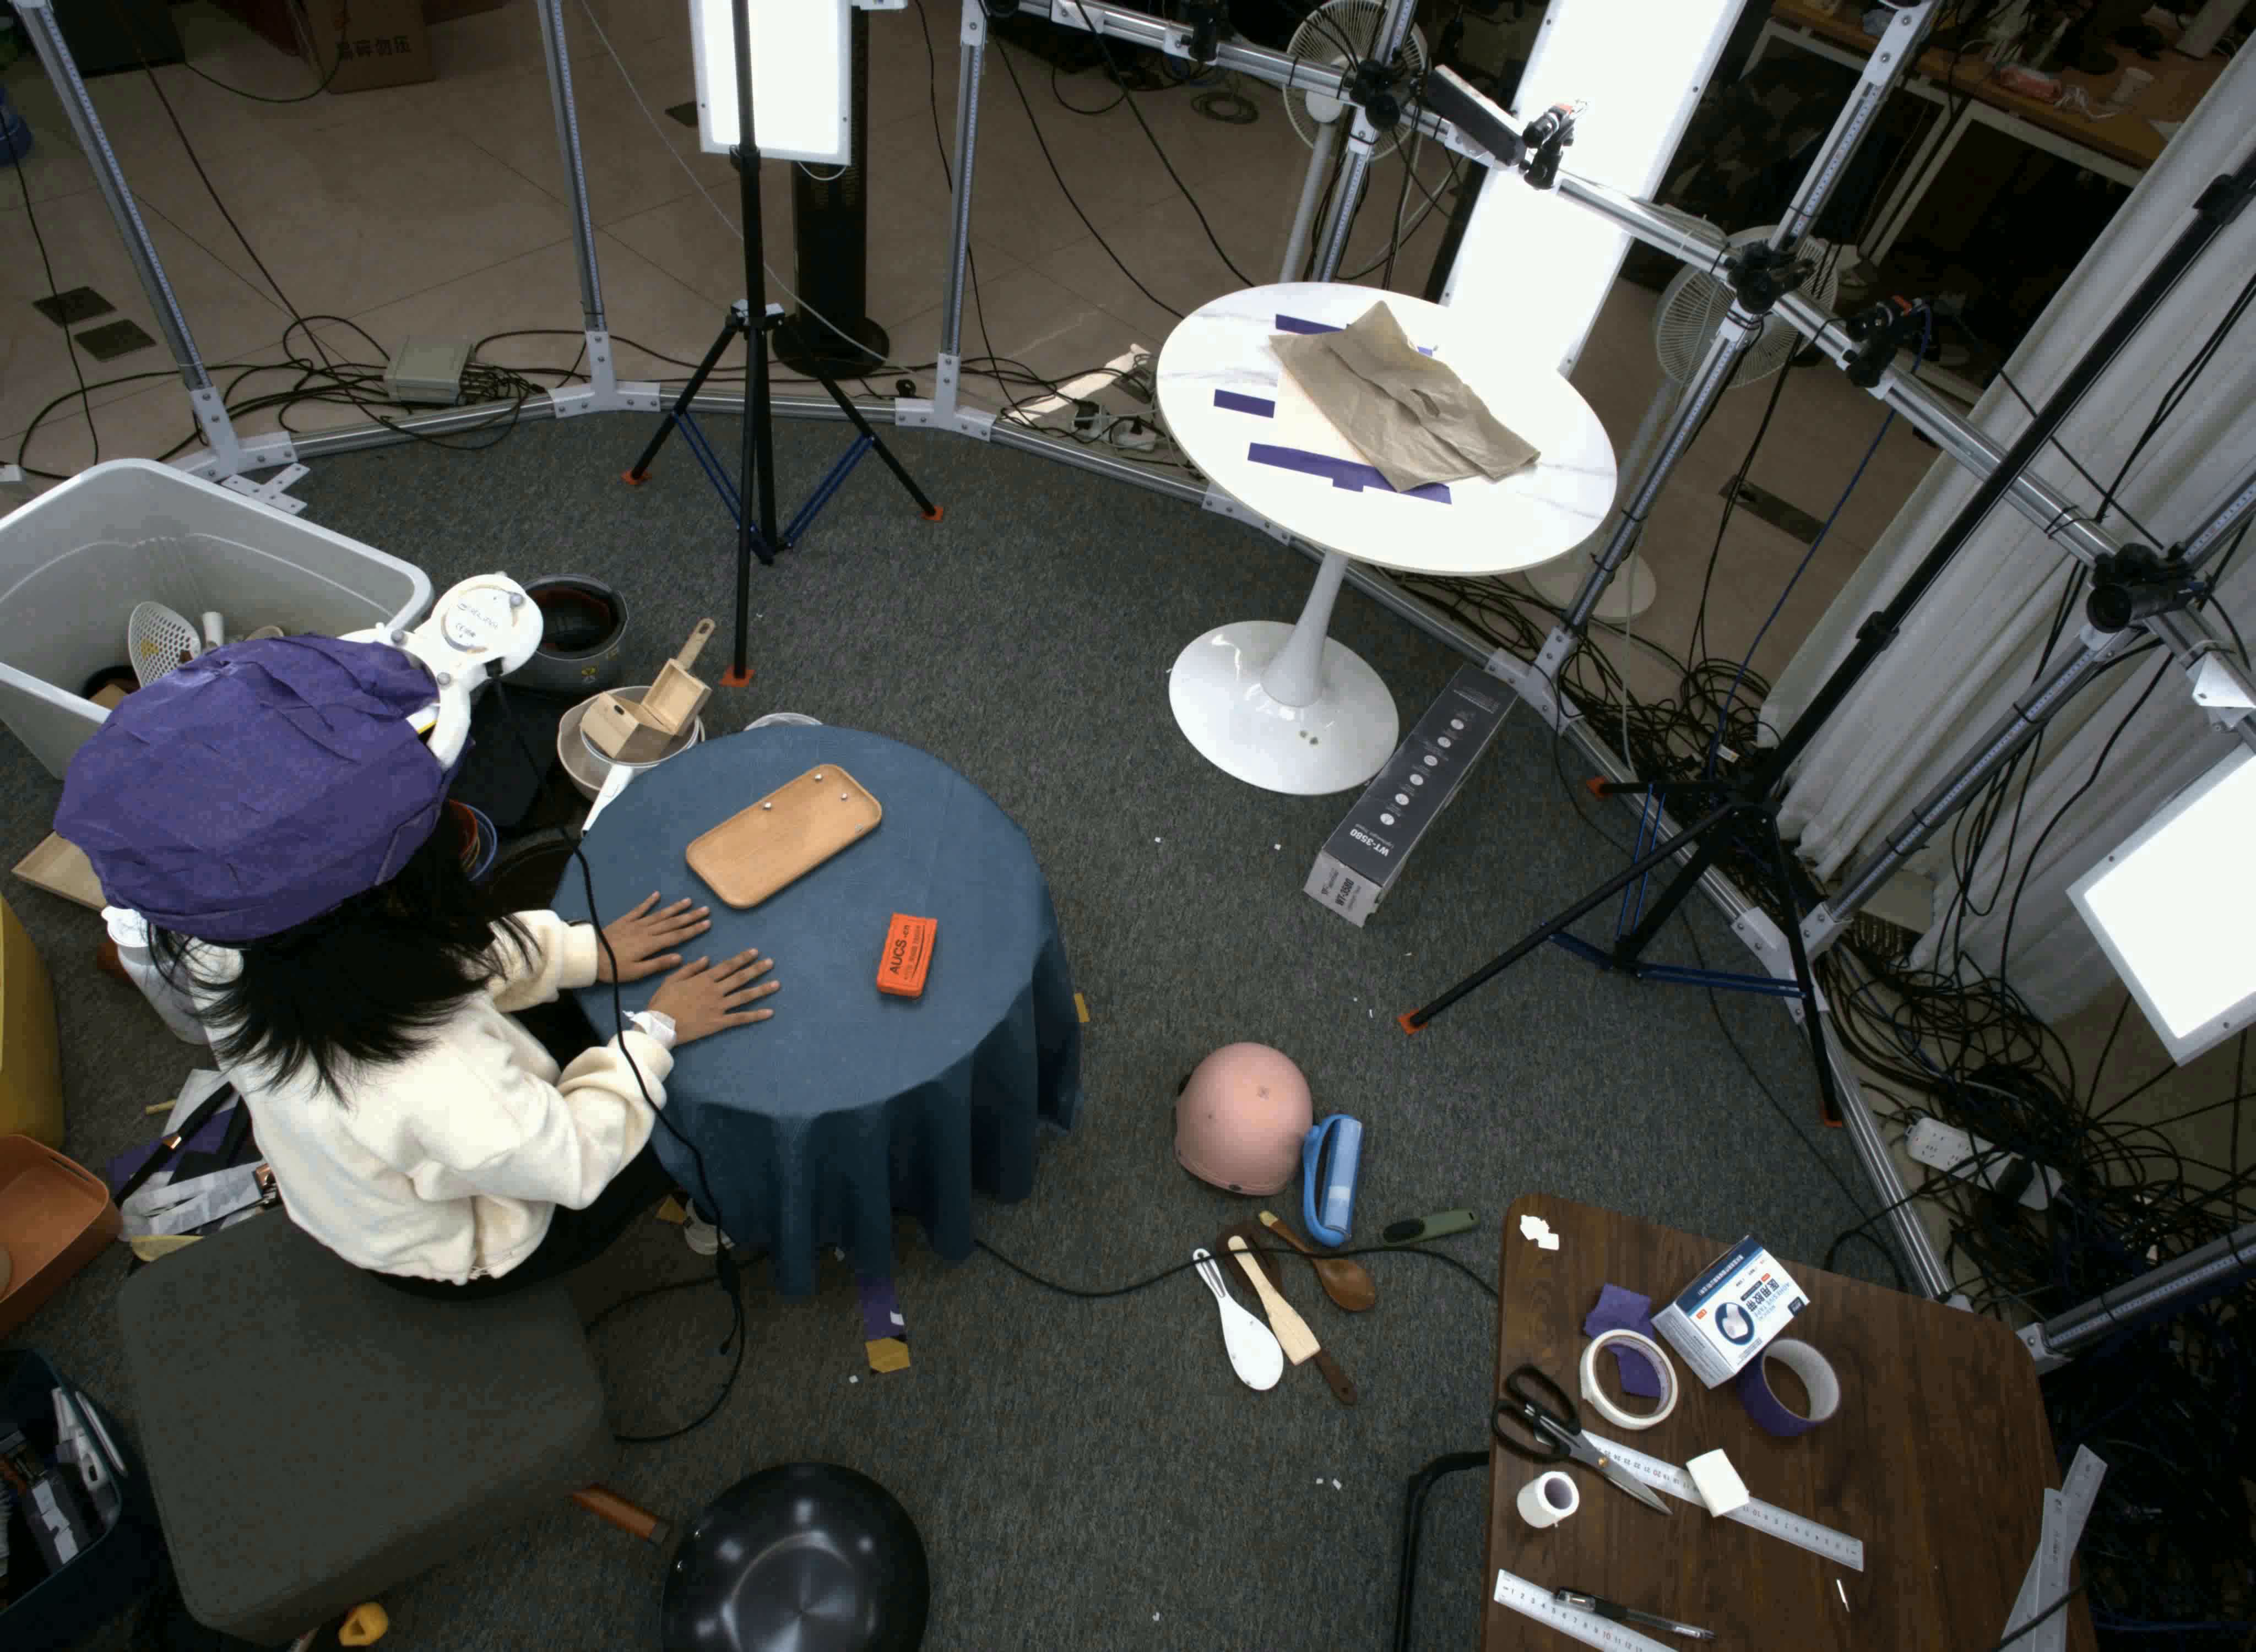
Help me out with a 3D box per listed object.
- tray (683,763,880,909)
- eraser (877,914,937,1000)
[{"bbox_3d":[-0.450,0.009,1.693,0.127,0.023,0.251,41,55,20],"label":"tray"},{"bbox_3d":[-0.275,0.161,1.623,0.059,0.023,0.106,12,51,-6],"label":"eraser"}]
